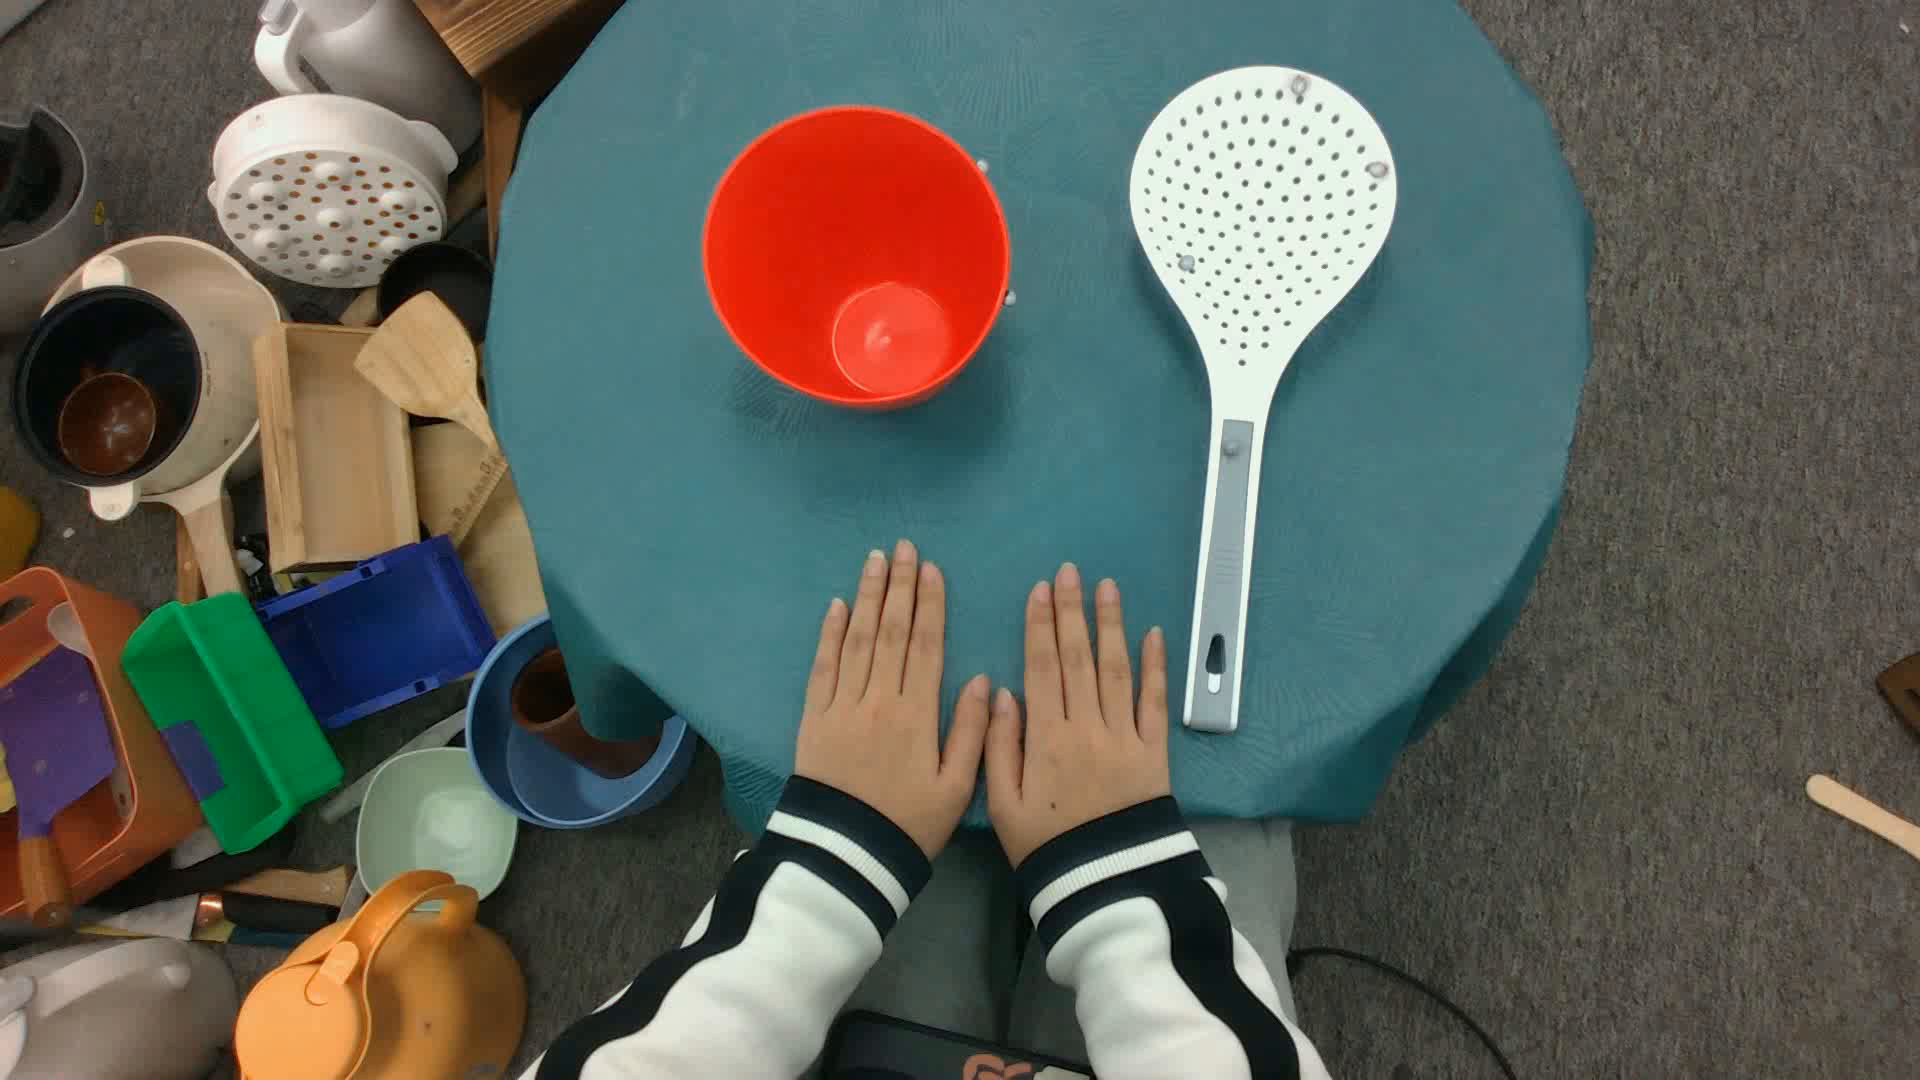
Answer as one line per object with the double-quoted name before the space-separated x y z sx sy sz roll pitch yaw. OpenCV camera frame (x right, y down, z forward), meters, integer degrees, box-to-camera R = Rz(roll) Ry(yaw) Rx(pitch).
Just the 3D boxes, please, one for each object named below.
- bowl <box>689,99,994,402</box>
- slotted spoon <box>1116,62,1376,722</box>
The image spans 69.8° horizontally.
"bowl" -0.056 -0.134 0.706 0.148 0.104 0.148 0 75 0
"slotted spoon" 0.137 -0.082 0.713 0.136 0.045 0.350 6 75 5
